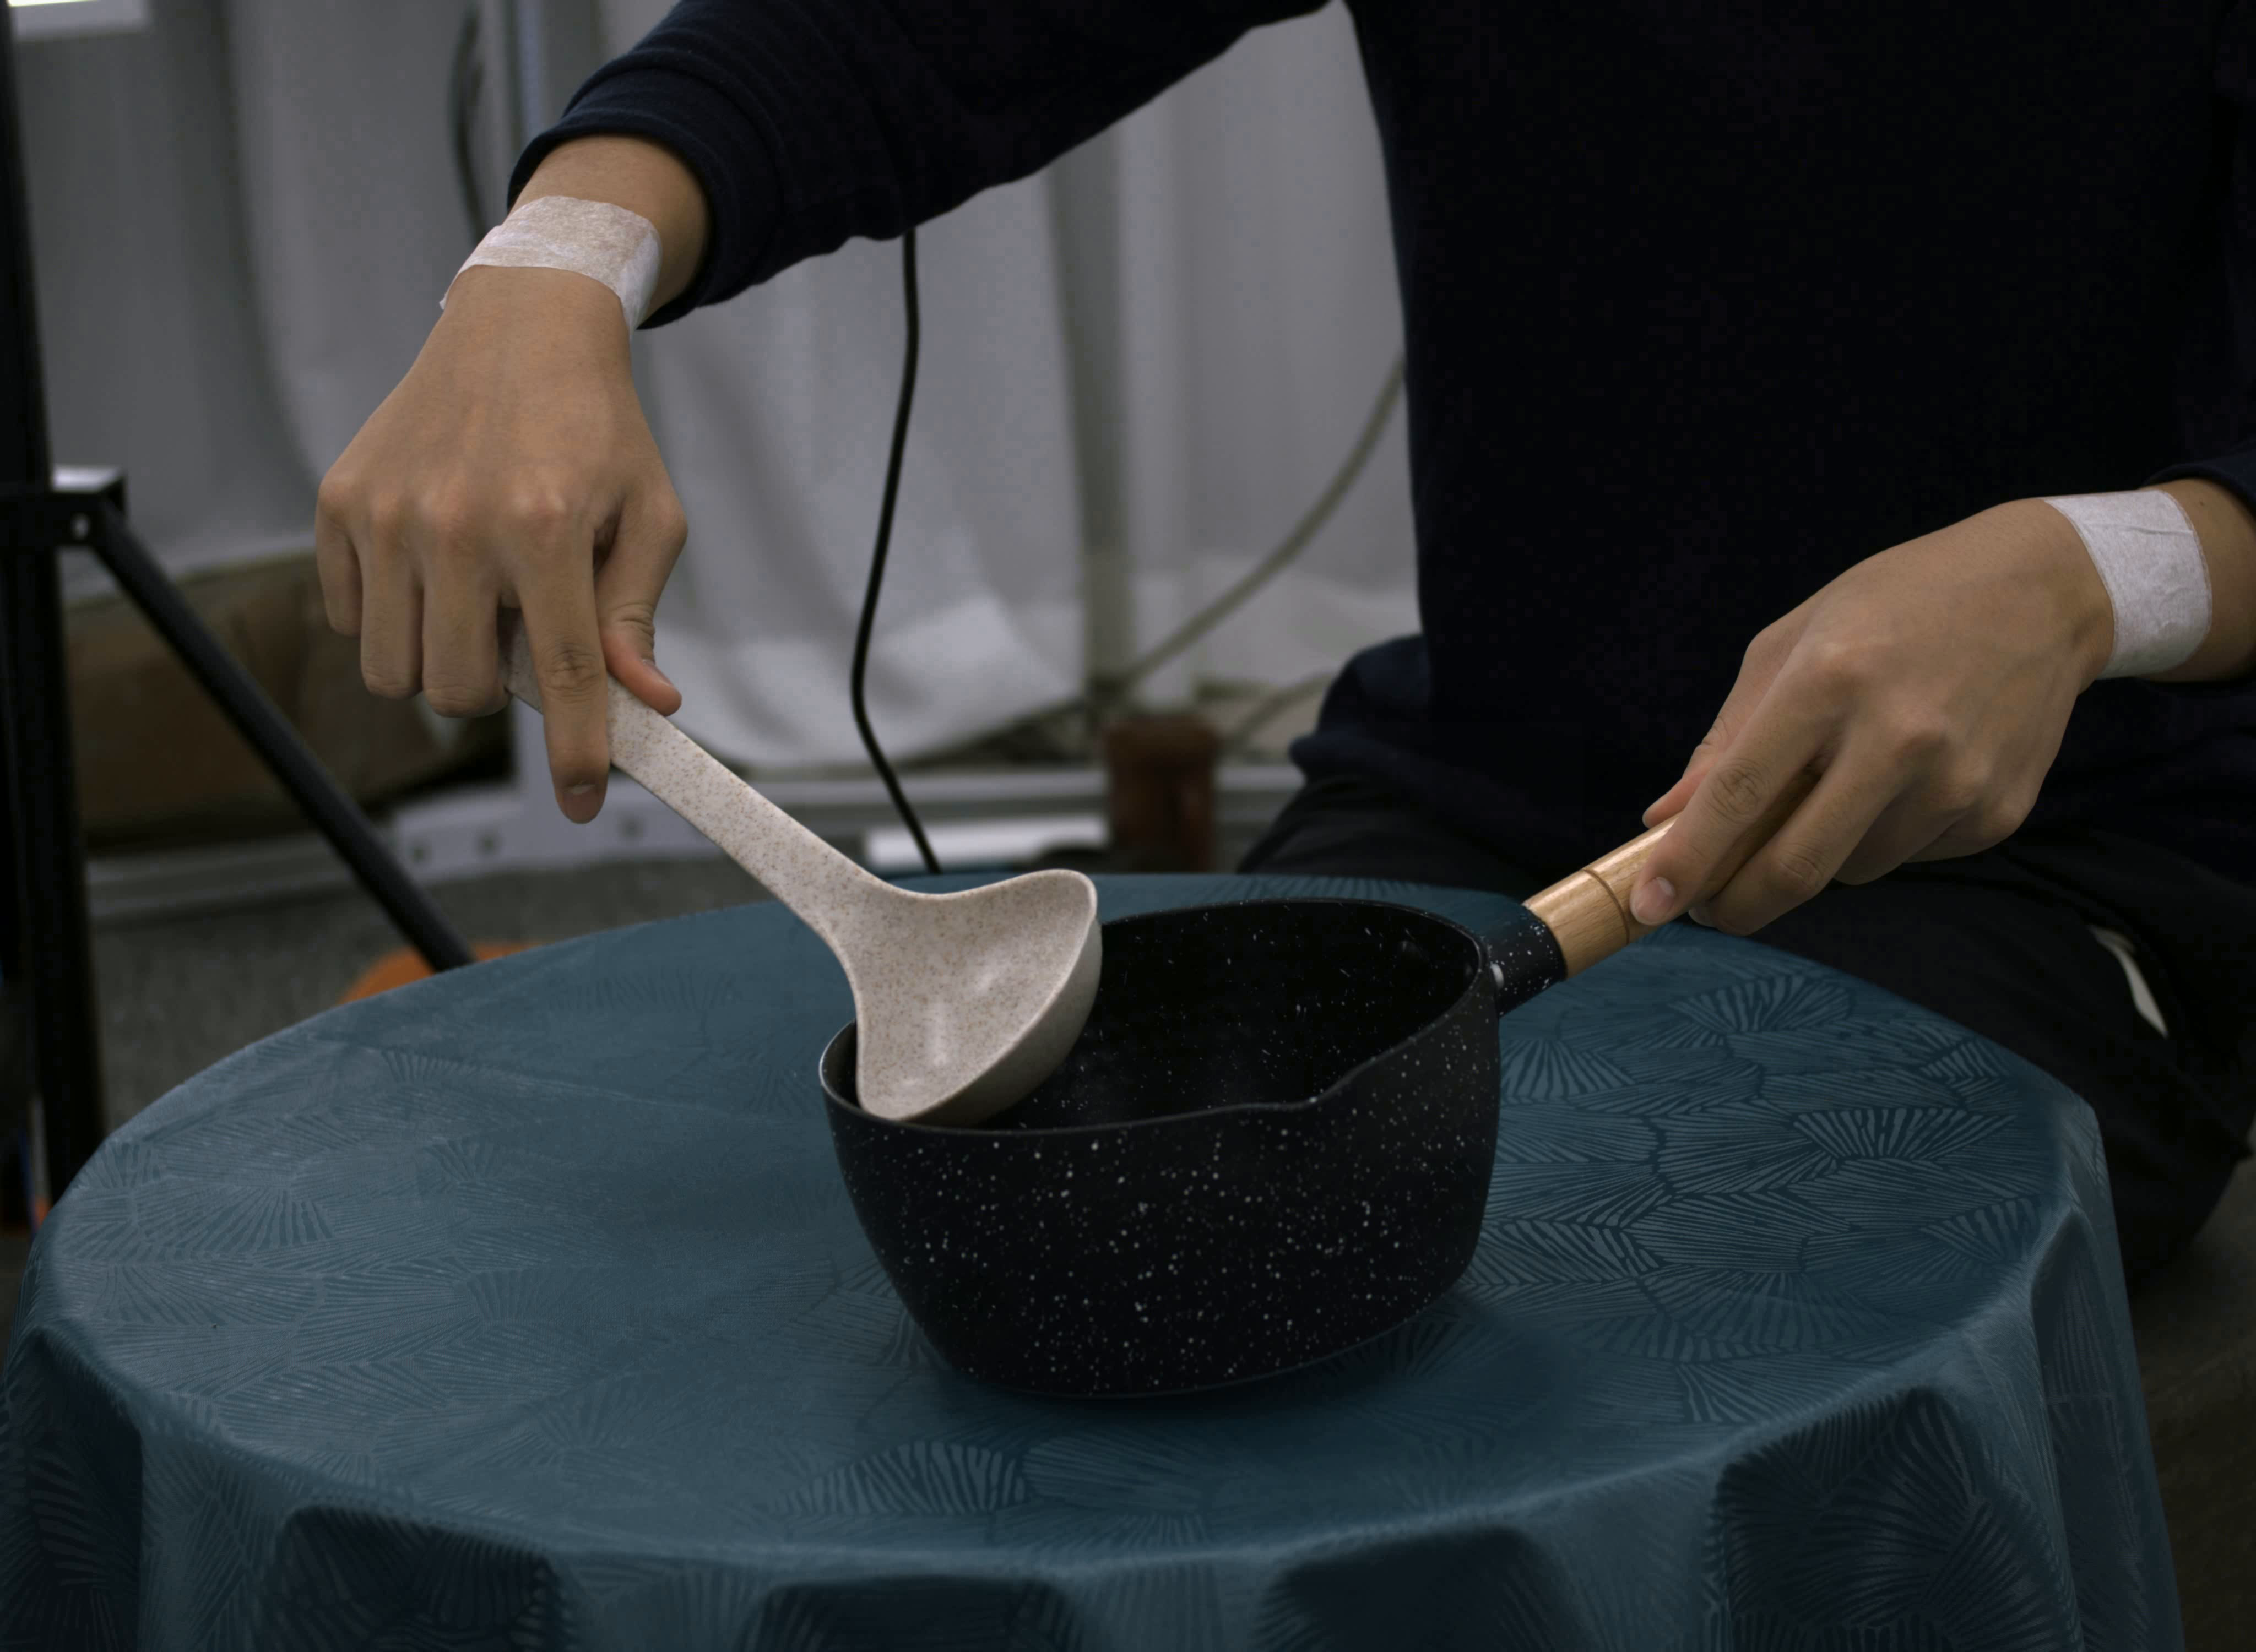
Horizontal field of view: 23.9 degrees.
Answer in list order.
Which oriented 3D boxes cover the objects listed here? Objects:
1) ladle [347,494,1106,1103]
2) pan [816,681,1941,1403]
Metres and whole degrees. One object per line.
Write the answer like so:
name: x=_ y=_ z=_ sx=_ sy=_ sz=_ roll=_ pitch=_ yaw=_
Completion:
ladle: x=-0.122 y=-0.018 z=1.480 sx=0.278 sy=0.089 sz=0.068 roll=38 pitch=-4 yaw=16
pan: x=0.082 y=0.057 z=1.464 sx=0.337 sy=0.108 sz=0.211 roll=-18 pitch=16 yaw=-20
